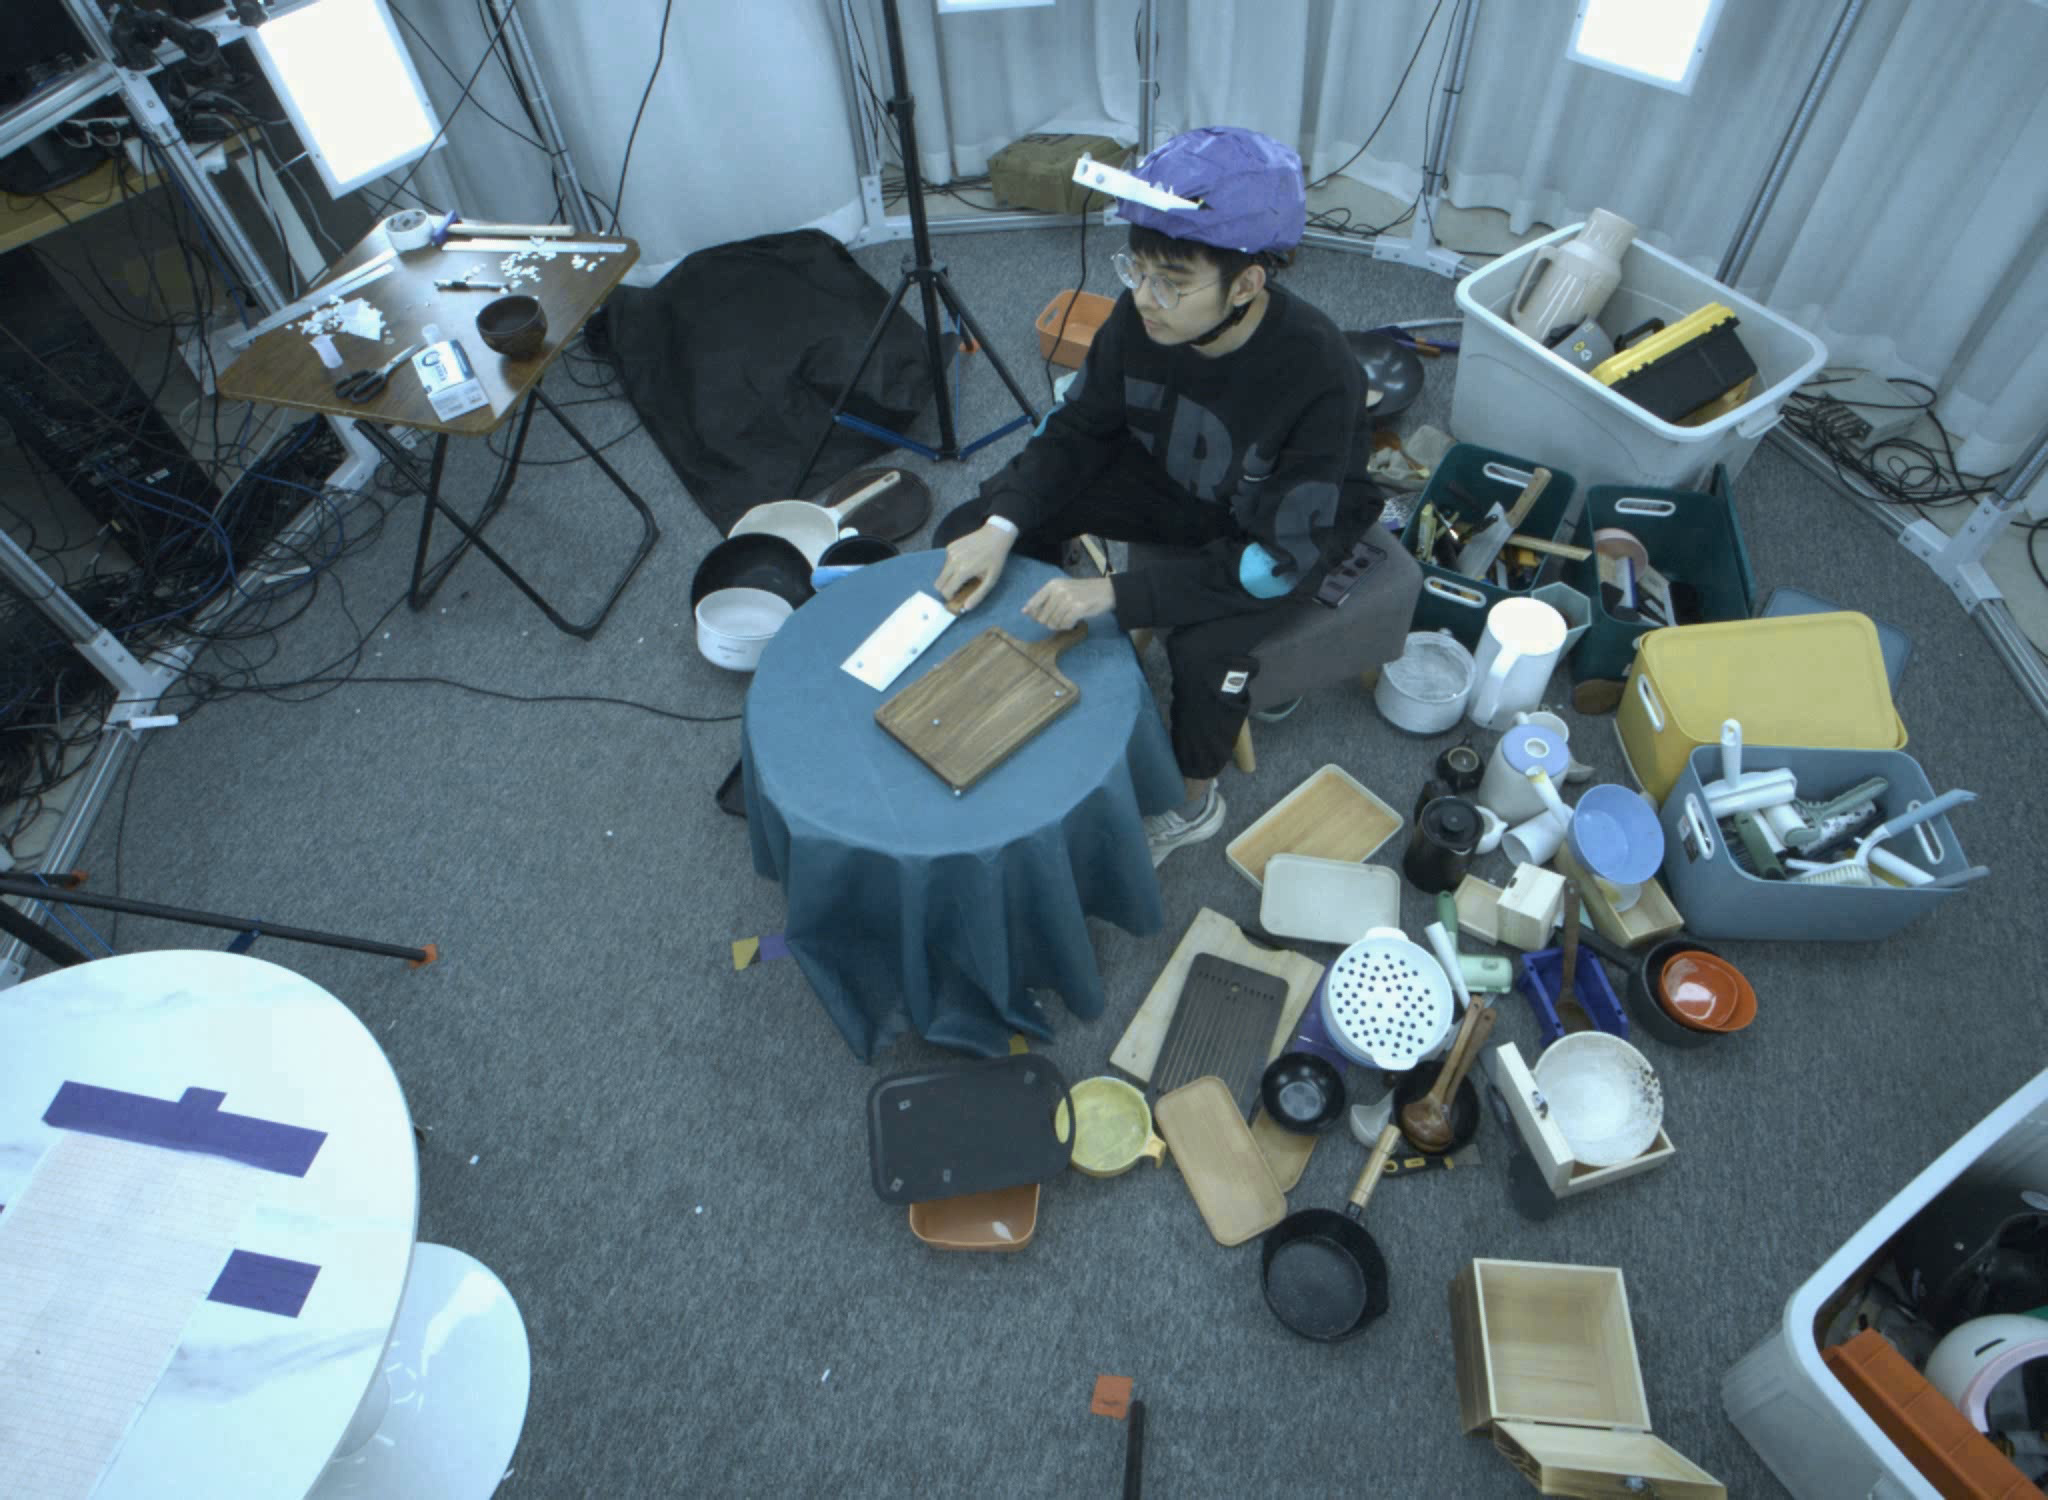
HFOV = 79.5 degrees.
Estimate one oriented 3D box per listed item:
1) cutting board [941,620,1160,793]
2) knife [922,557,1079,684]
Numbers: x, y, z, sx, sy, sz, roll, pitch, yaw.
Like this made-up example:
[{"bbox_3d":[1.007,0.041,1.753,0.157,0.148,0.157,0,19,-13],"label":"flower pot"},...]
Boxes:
[{"bbox_3d":[0.070,-0.094,1.838,0.355,0.023,0.197,-35,61,-21],"label":"cutting board"},{"bbox_3d":[-0.041,-0.217,1.933,0.091,0.021,0.307,34,65,26],"label":"knife"}]
